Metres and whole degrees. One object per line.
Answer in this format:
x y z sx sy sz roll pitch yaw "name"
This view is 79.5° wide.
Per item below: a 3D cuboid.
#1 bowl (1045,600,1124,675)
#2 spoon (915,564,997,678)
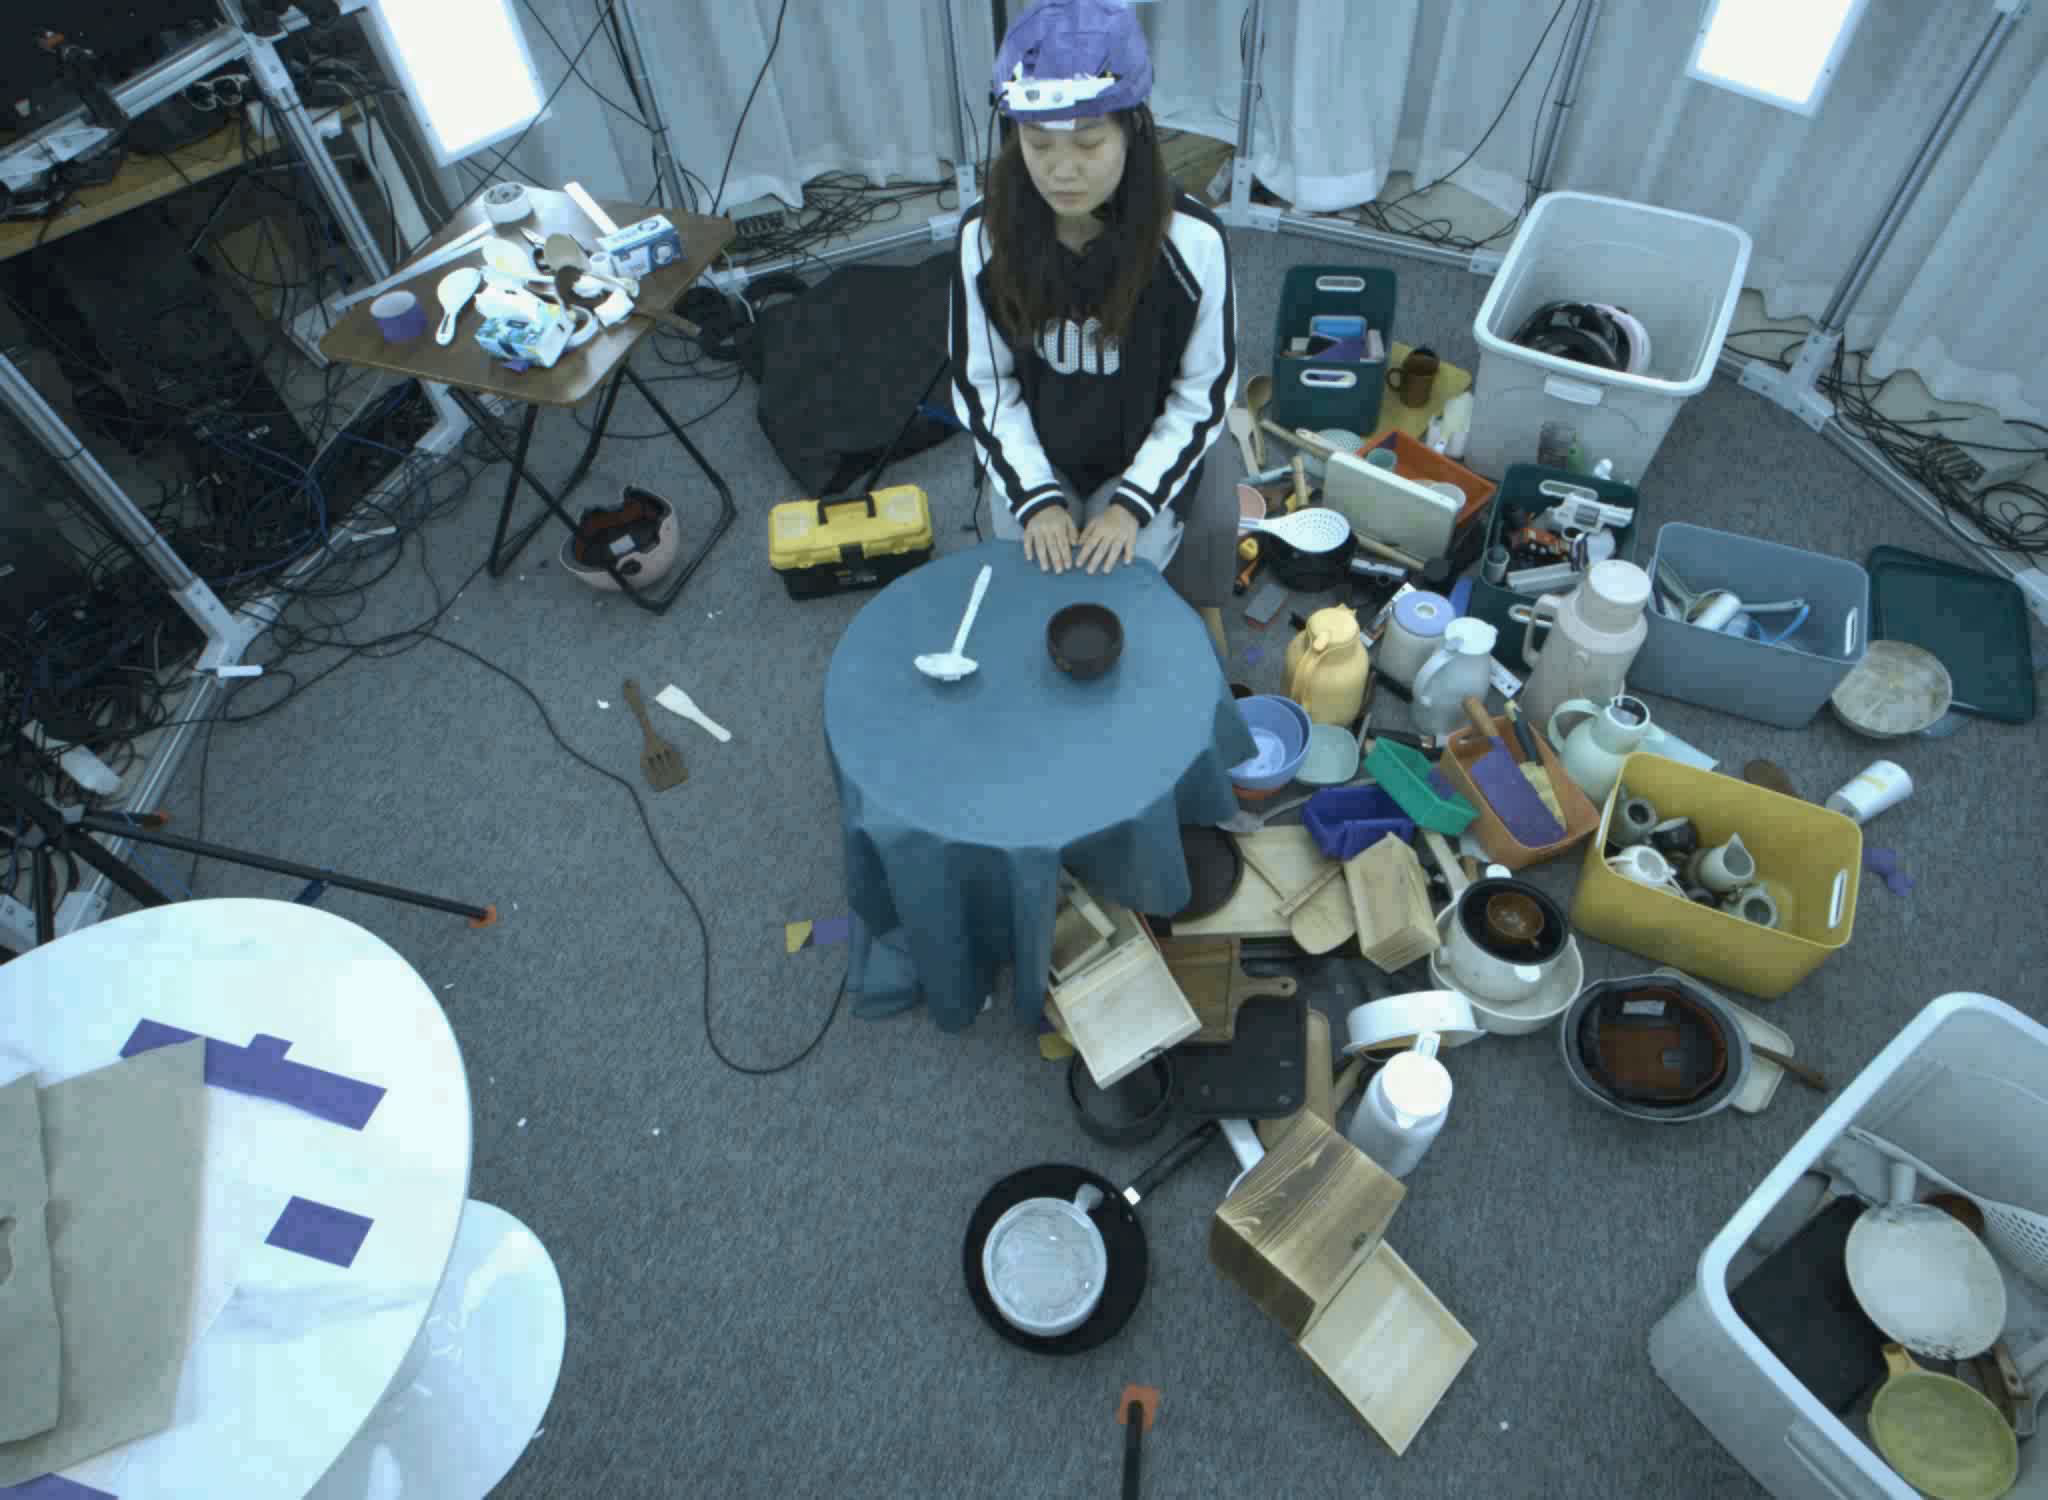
0.091 -0.161 1.853 0.118 0.070 0.117 0 55 2 "bowl"
-0.086 -0.208 1.902 0.100 0.060 0.276 14 57 8 "spoon"
